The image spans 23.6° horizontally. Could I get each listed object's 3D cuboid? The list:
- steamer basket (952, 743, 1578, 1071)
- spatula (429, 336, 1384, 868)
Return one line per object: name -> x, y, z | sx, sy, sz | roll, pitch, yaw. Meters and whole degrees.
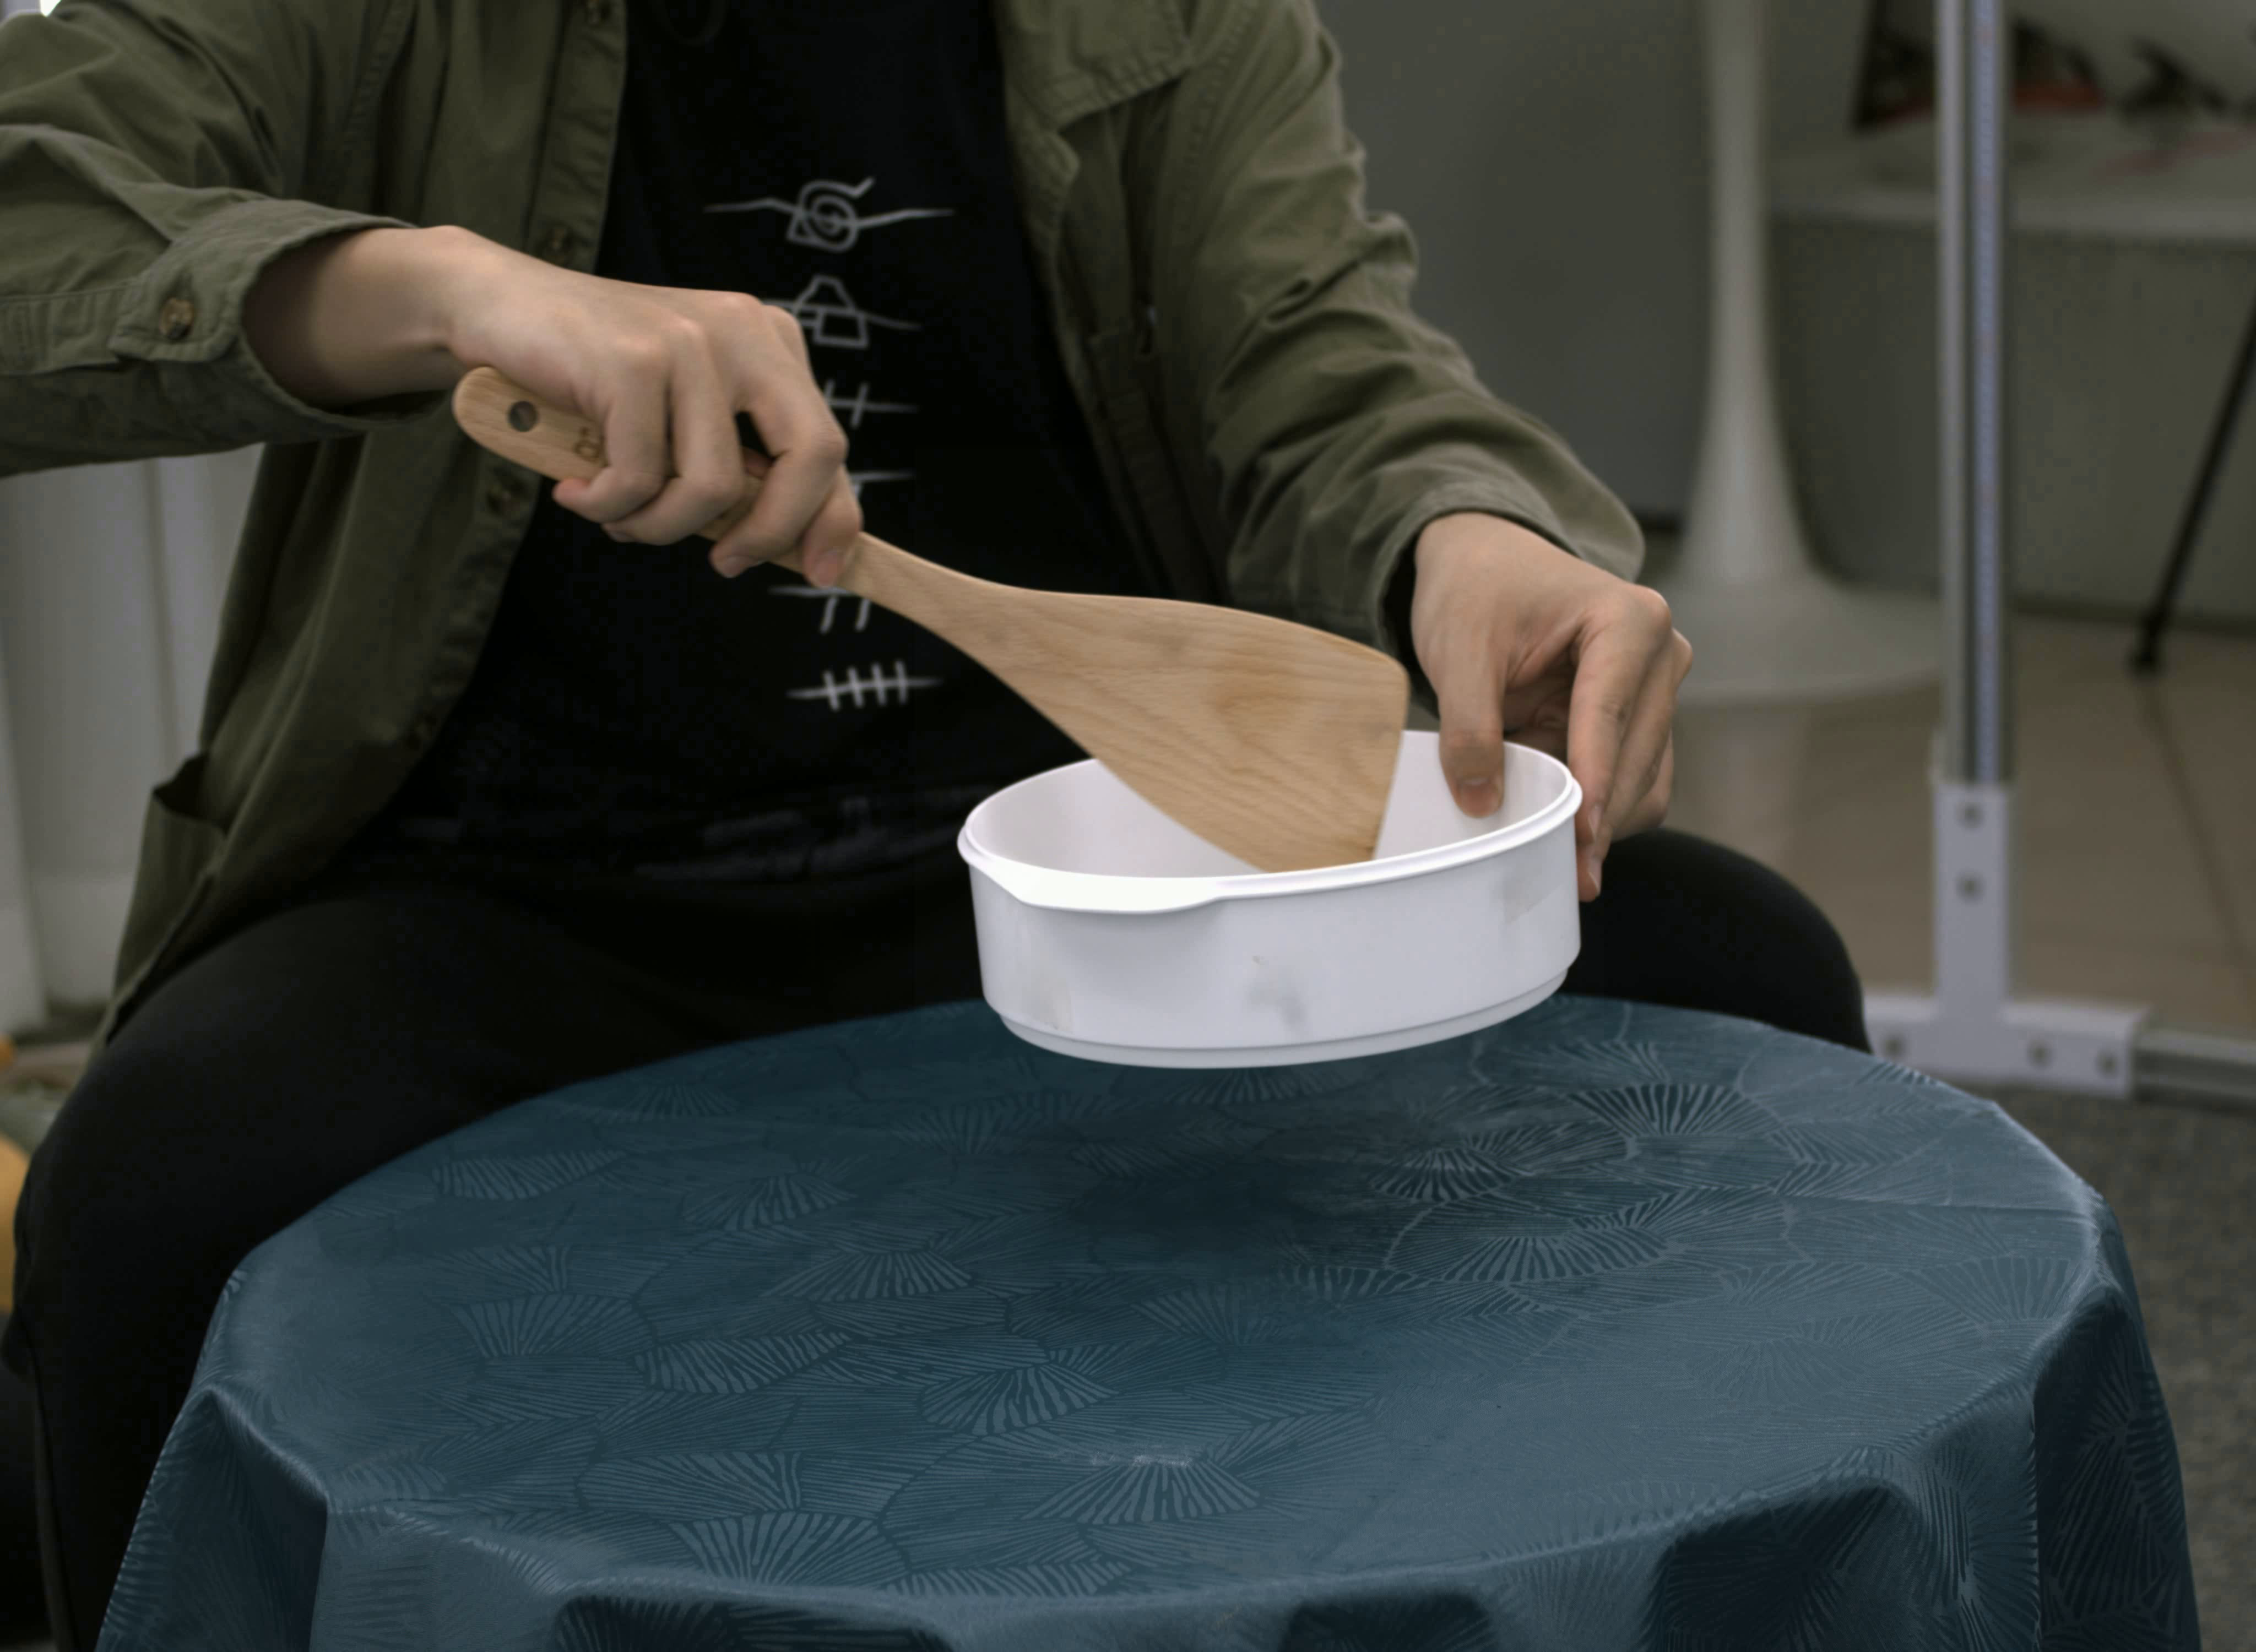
steamer basket -> 0.045, 0.026, 1.717 | 0.203, 0.070, 0.227 | 3, 14, 33
spatula -> -0.070, -0.082, 1.701 | 0.325, 0.081, 0.016 | 24, 6, 1
